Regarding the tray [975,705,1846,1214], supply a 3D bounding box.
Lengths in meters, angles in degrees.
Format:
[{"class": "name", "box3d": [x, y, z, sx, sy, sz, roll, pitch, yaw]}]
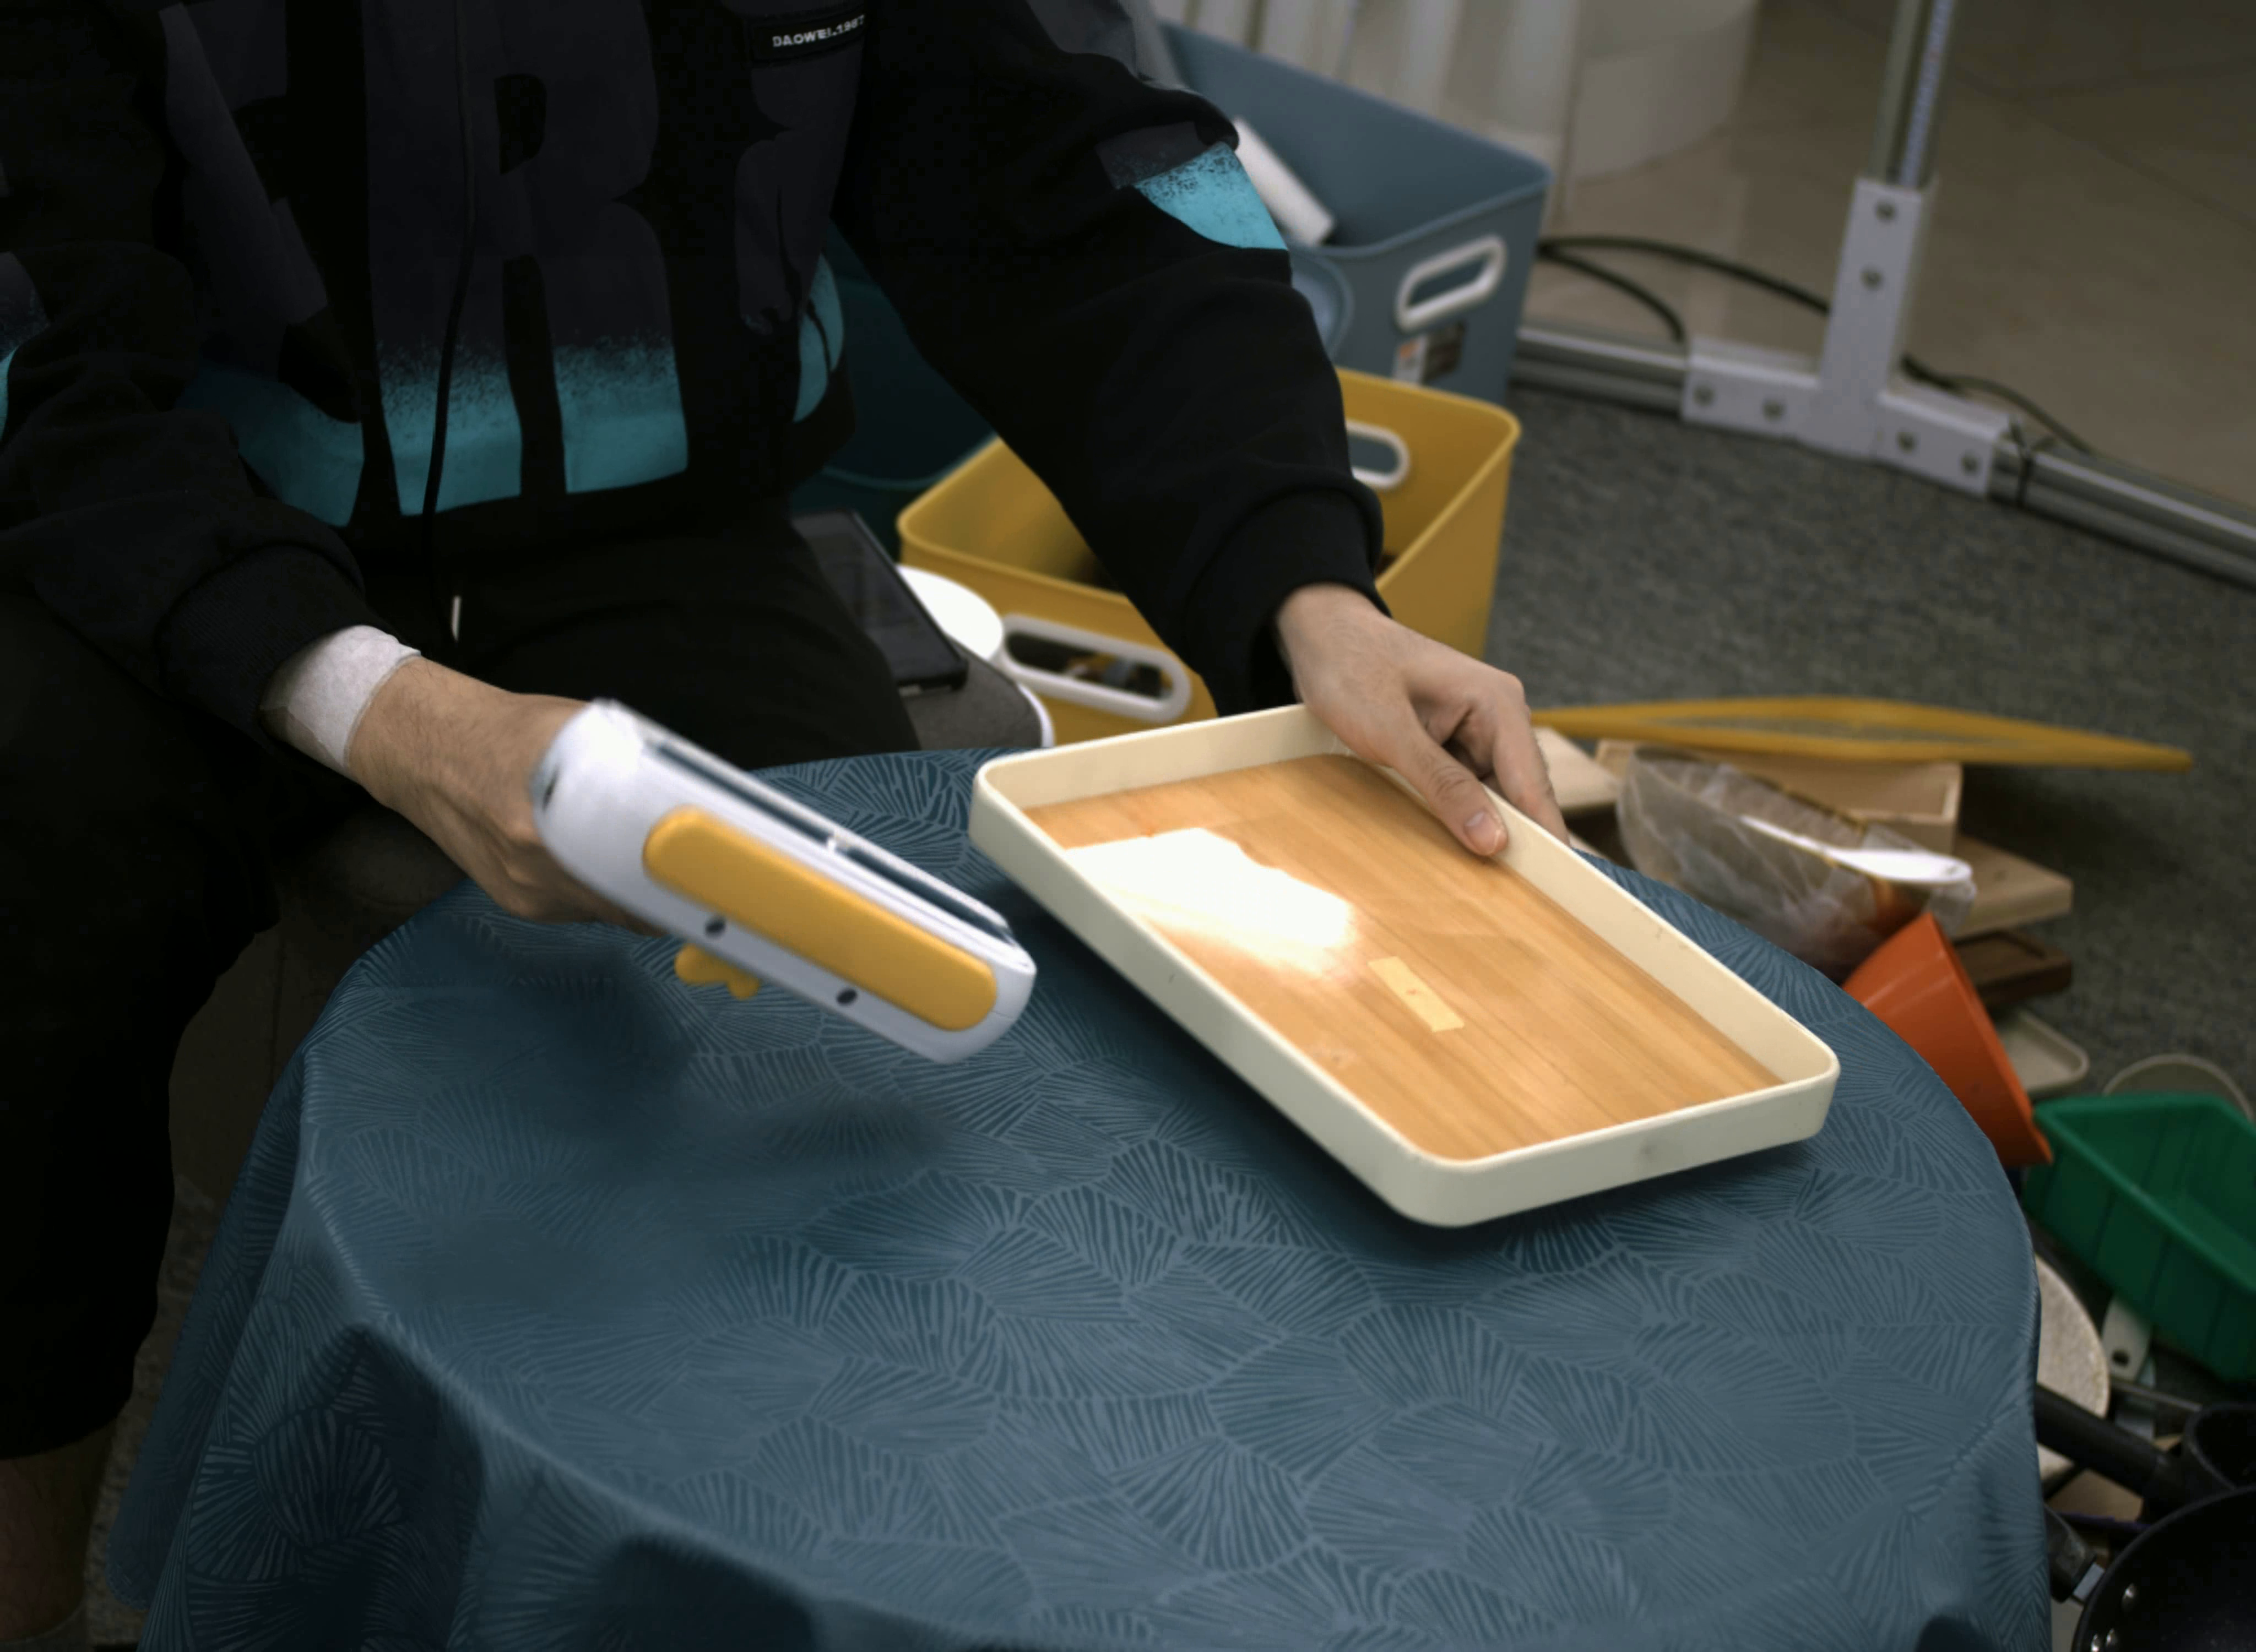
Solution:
[{"class": "tray", "box3d": [0.097, 0.042, 1.911, 0.190, 0.027, 0.303, -8, 32, -34]}]

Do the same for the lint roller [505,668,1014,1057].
[{"class": "lint roller", "box3d": [-0.148, 0.005, 1.816, 0.191, 0.074, 0.194, 28, 2, -28]}]
